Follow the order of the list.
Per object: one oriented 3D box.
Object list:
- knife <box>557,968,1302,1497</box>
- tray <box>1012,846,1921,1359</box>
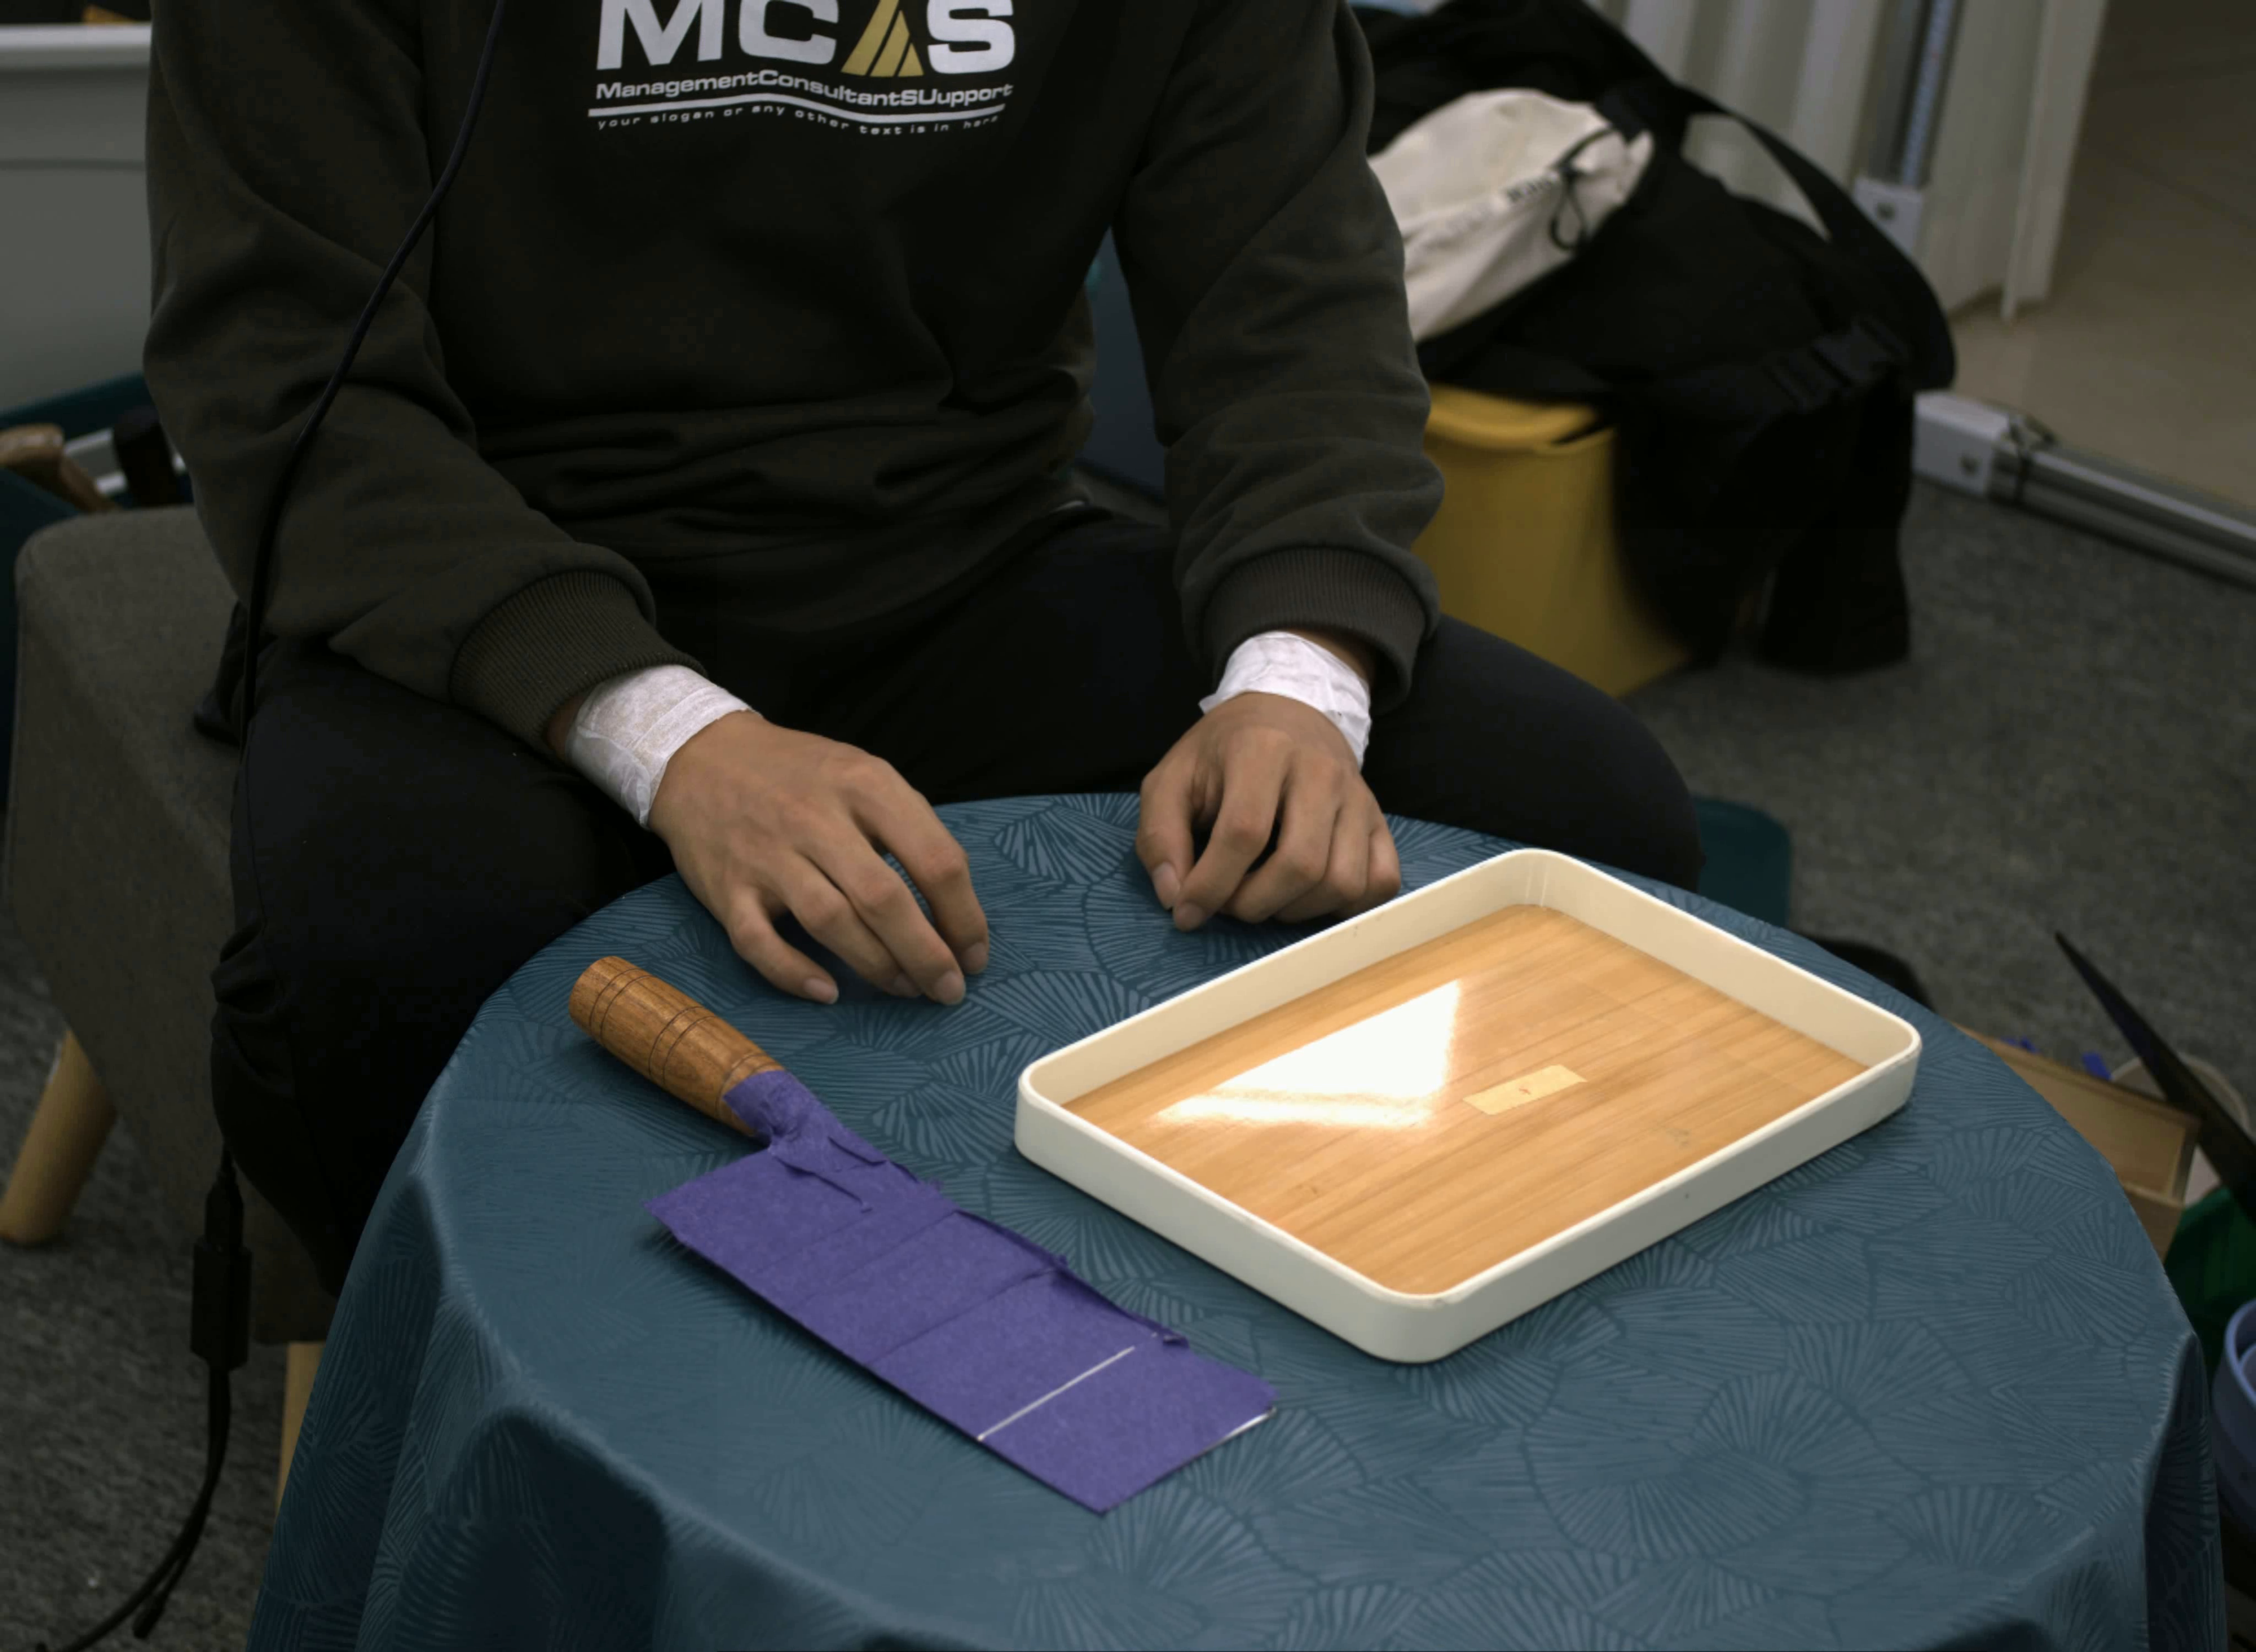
[{"bbox_3d":[-0.092,0.130,1.743,0.317,0.032,0.103,27,33,34],"label":"knife"},{"bbox_3d":[0.122,0.091,1.867,0.193,0.027,0.299,27,33,35],"label":"tray"}]
